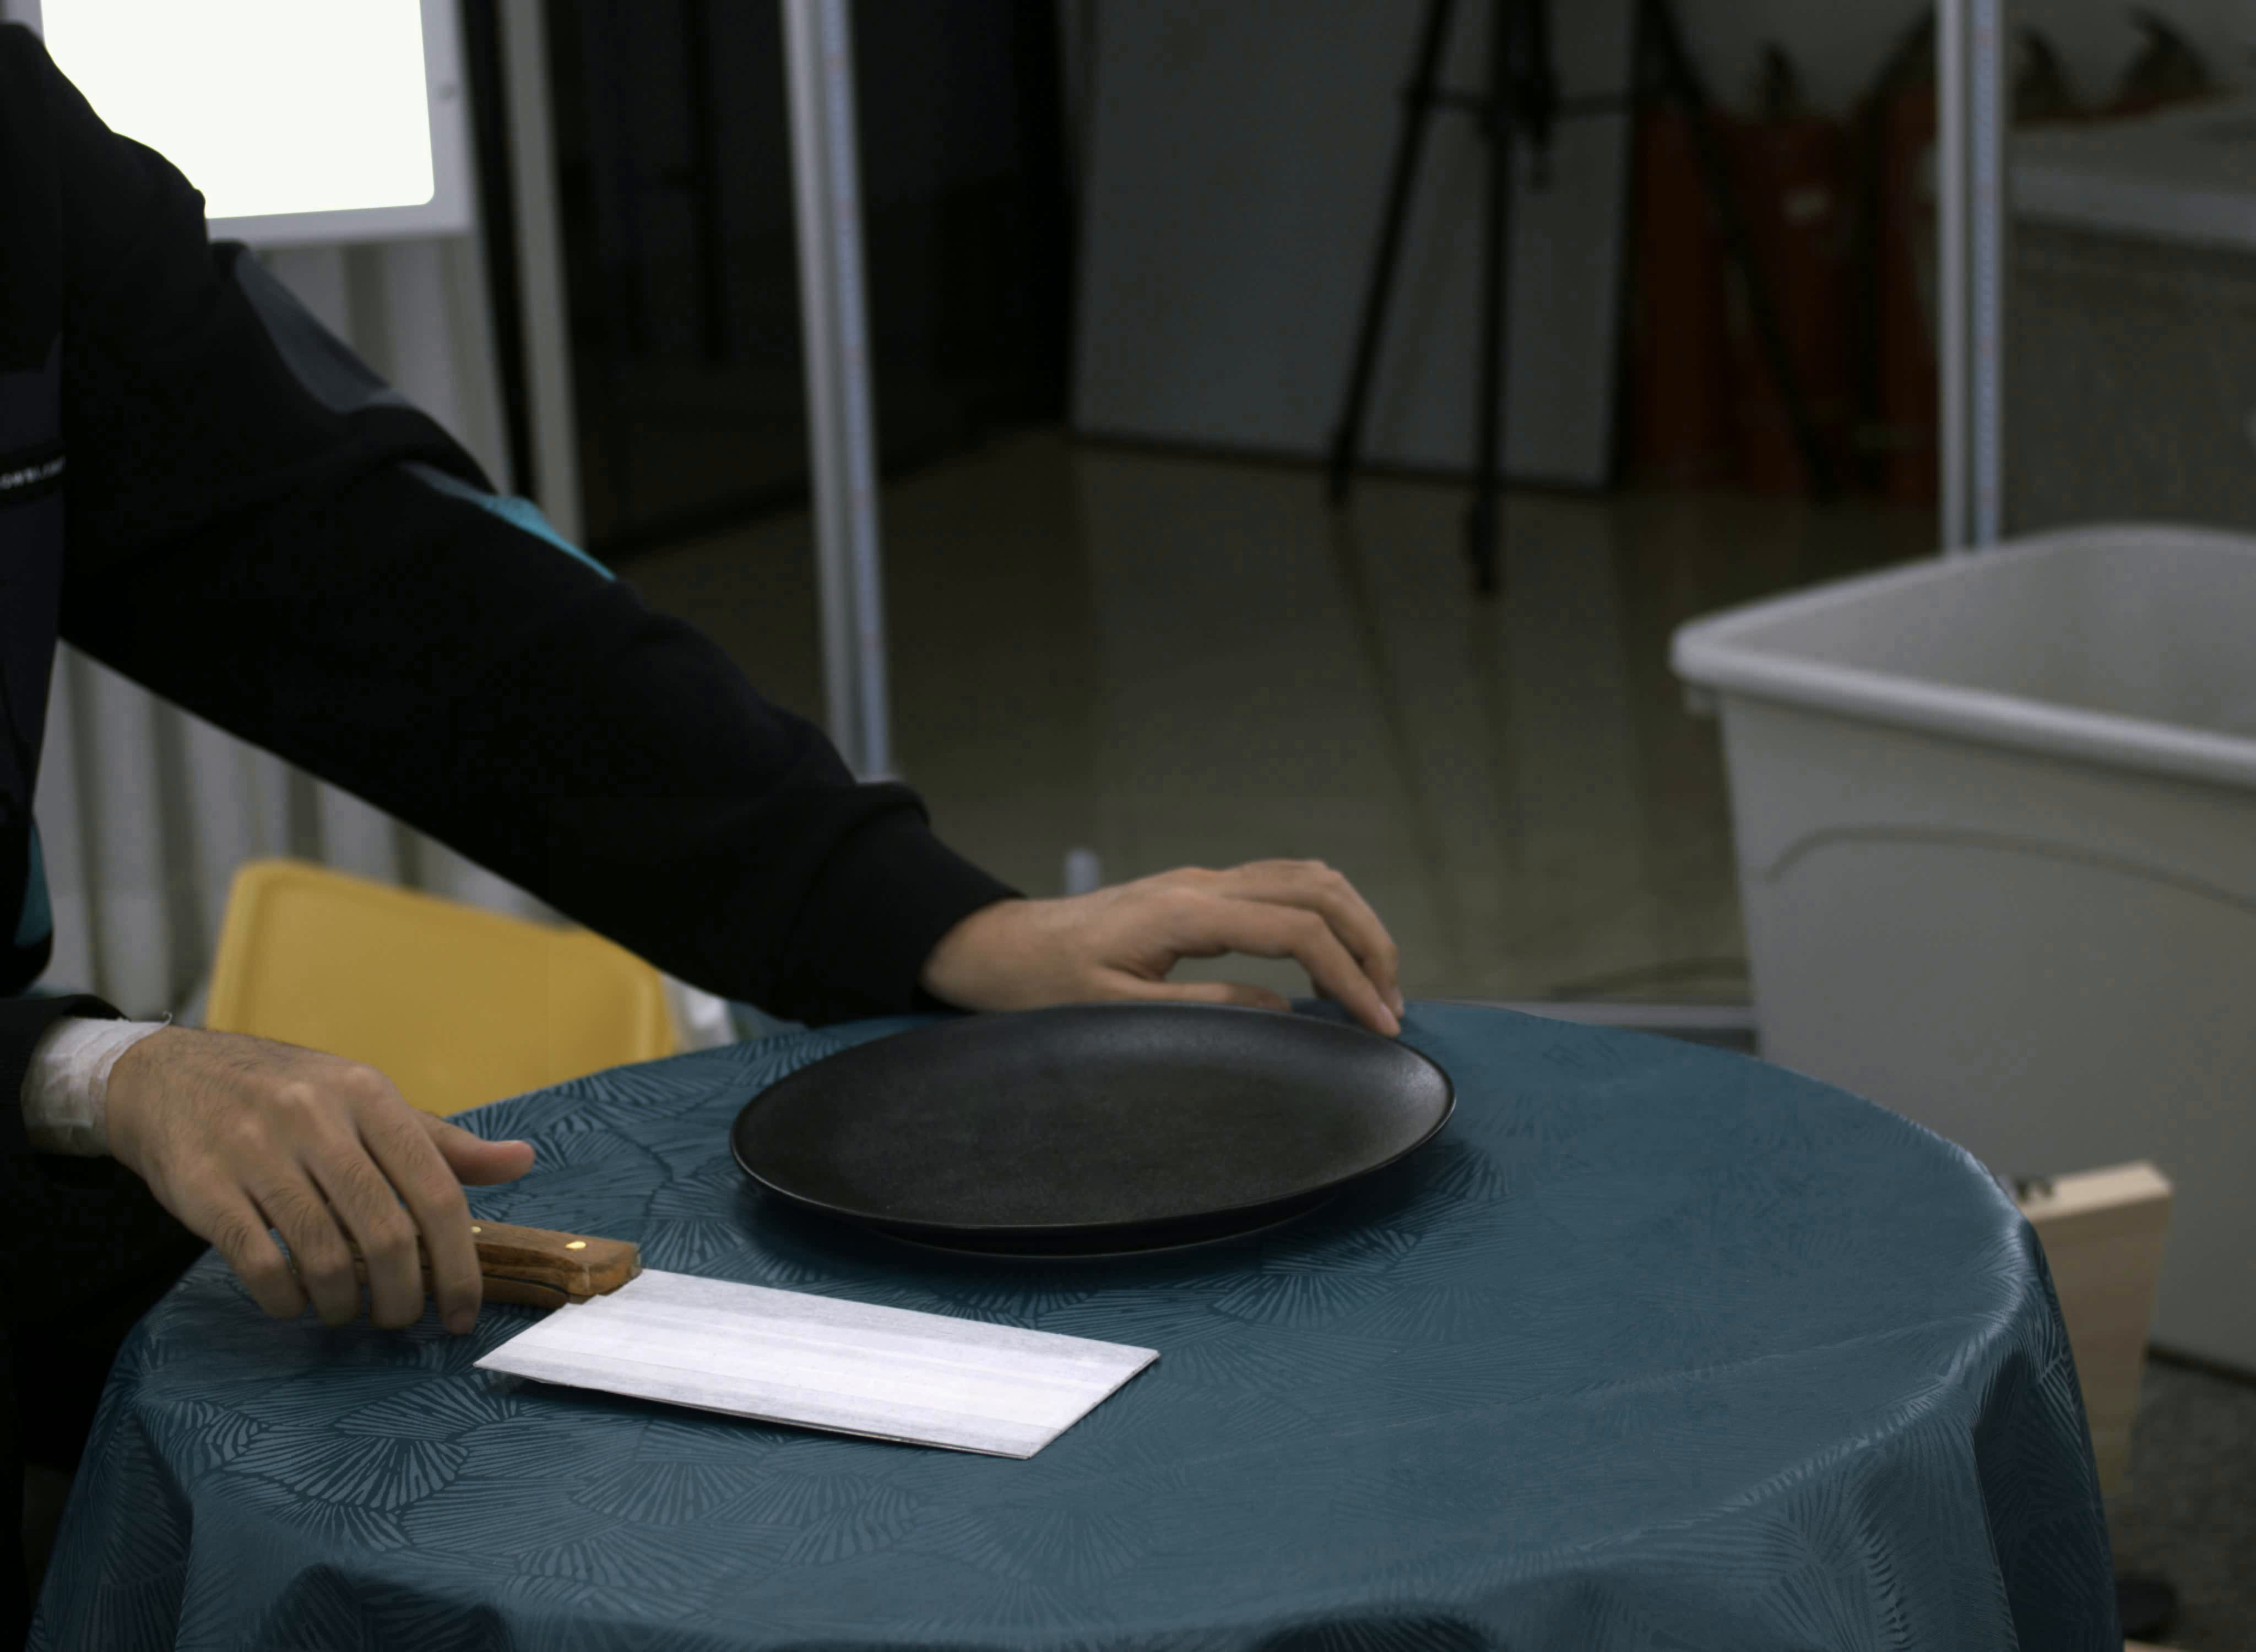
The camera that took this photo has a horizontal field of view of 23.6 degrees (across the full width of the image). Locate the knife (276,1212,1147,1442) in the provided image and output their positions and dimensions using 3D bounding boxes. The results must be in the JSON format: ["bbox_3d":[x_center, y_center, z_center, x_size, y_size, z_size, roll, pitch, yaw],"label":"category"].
[{"bbox_3d":[-0.143,0.155,1.645,0.306,0.021,0.091,6,18,27],"label":"knife"}]

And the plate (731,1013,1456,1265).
[{"bbox_3d":[-0.010,0.105,1.789,0.241,0.024,0.245,-4,14,0],"label":"plate"}]
